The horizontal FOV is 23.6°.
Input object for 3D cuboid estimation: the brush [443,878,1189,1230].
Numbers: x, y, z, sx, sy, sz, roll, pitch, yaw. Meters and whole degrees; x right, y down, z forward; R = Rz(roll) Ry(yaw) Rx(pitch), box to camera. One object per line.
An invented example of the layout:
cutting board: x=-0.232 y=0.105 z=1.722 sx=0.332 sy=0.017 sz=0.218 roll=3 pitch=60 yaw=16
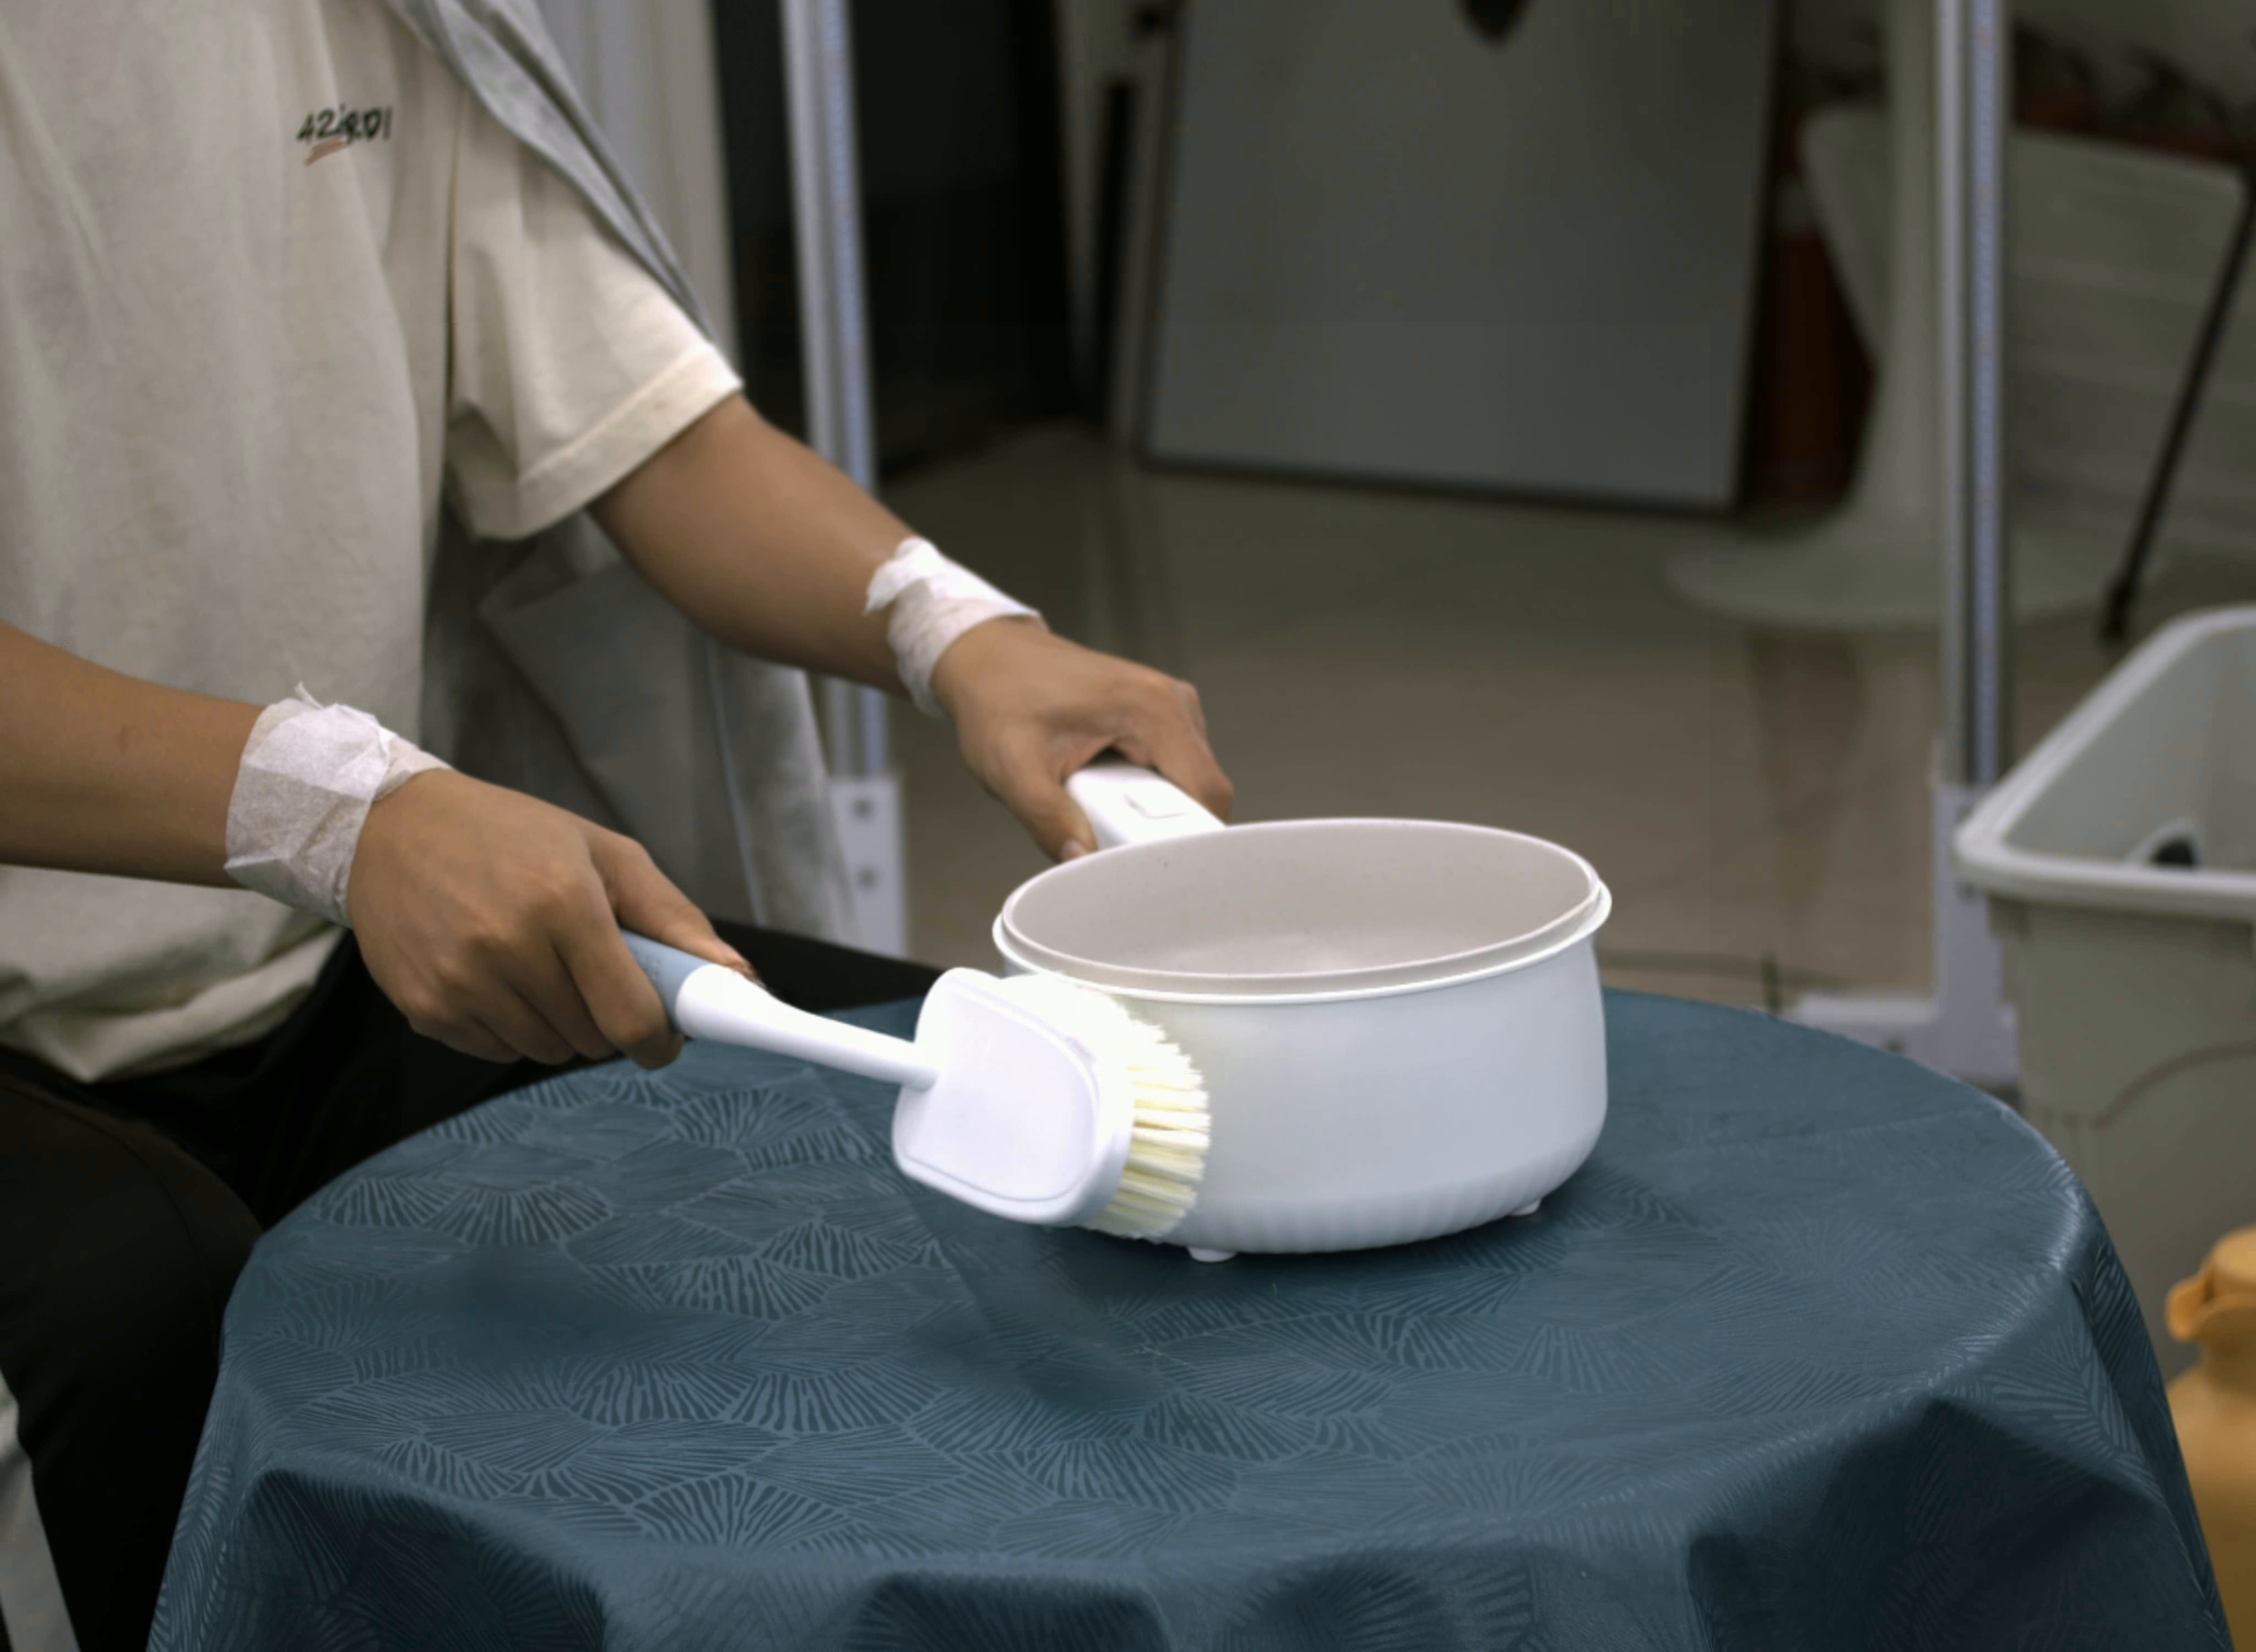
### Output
brush: x=-0.090 y=0.060 z=1.700 sx=0.328 sy=0.084 sz=0.082 roll=17 pitch=58 yaw=45

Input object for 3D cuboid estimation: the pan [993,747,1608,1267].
pan: x=0.037 y=0.055 z=1.823 sx=0.197 sy=0.103 sz=0.357 roll=-8 pitch=14 yaw=-14
